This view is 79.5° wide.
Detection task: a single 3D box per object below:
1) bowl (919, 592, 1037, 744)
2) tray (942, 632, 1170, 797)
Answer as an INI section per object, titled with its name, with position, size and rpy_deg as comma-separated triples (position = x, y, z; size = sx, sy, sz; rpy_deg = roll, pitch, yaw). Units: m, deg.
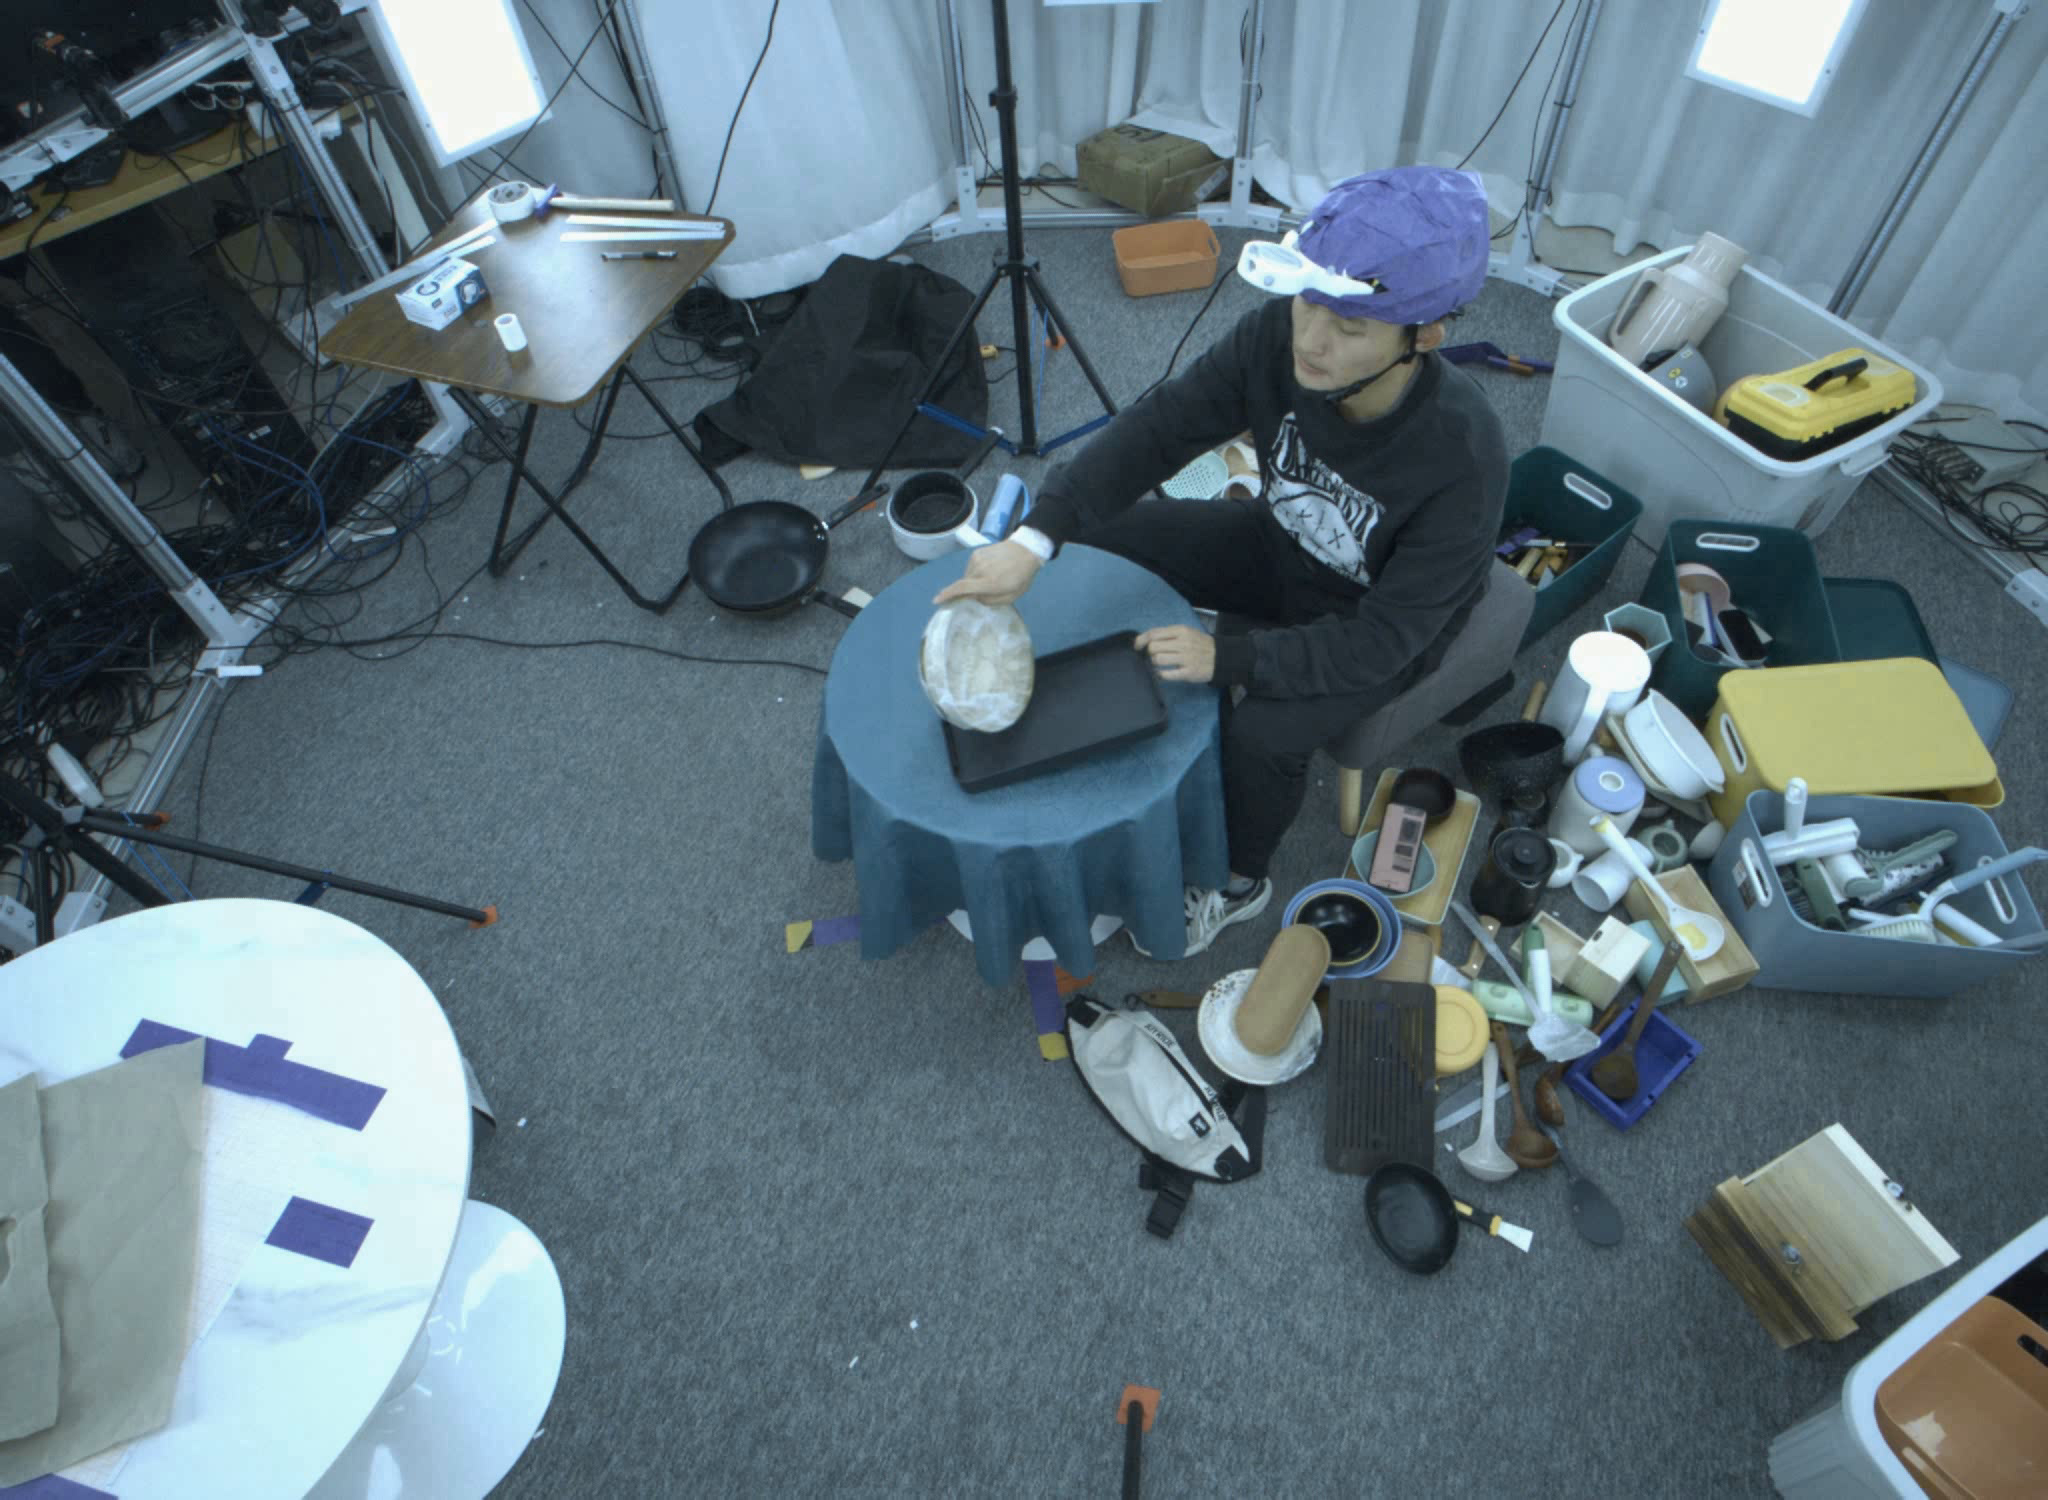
[bowl]
position = -0.080, -0.115, 1.737
size = 0.092, 0.219, 0.214
rpy_deg = -1, 50, 36
[tray]
position = 0.042, -0.052, 1.784
size = 0.317, 0.037, 0.181
rpy_deg = -16, 56, 4
